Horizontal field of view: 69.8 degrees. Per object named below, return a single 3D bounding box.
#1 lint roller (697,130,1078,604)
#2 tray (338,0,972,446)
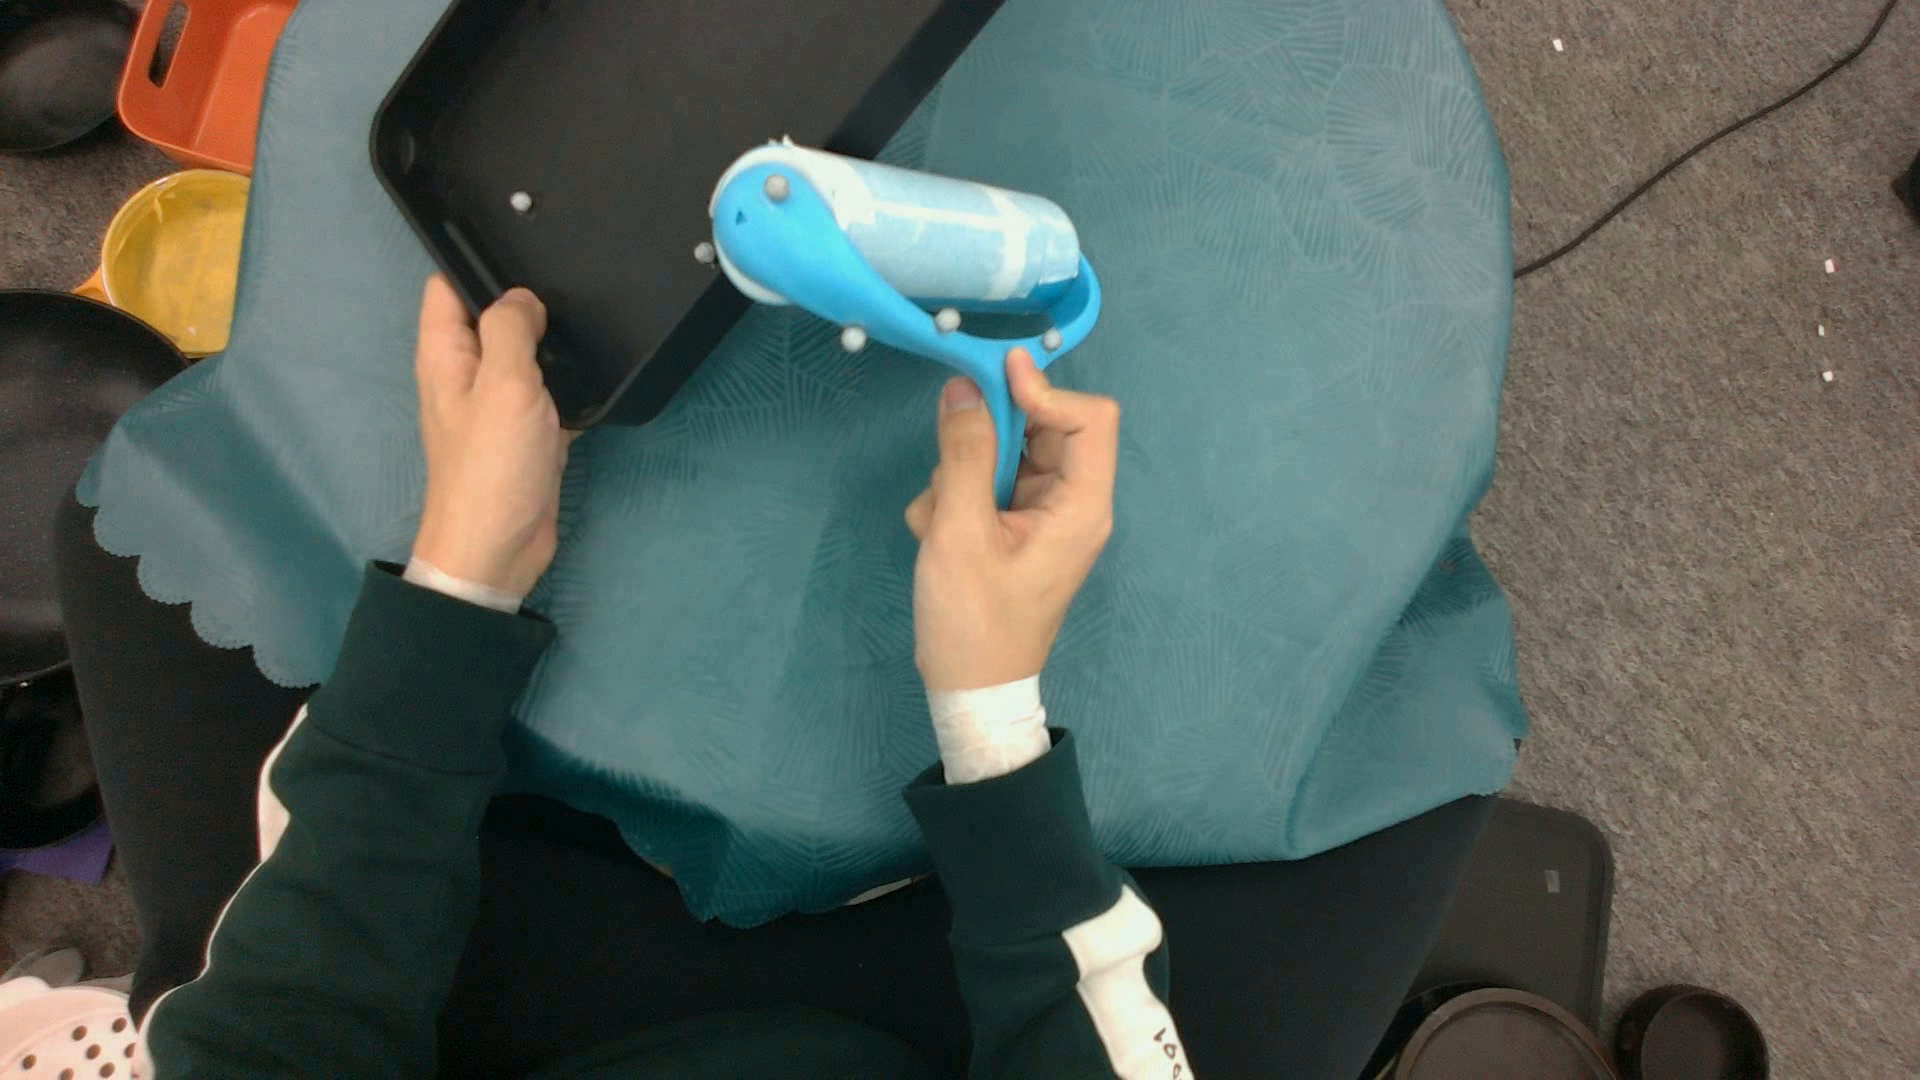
[{"bbox_3d":[-0.010,-0.067,0.549,0.068,0.230,0.180,-10,96,28],"label":"lint roller"},{"bbox_3d":[-0.111,-0.204,0.541,0.317,0.037,0.184,-47,73,18],"label":"tray"}]
